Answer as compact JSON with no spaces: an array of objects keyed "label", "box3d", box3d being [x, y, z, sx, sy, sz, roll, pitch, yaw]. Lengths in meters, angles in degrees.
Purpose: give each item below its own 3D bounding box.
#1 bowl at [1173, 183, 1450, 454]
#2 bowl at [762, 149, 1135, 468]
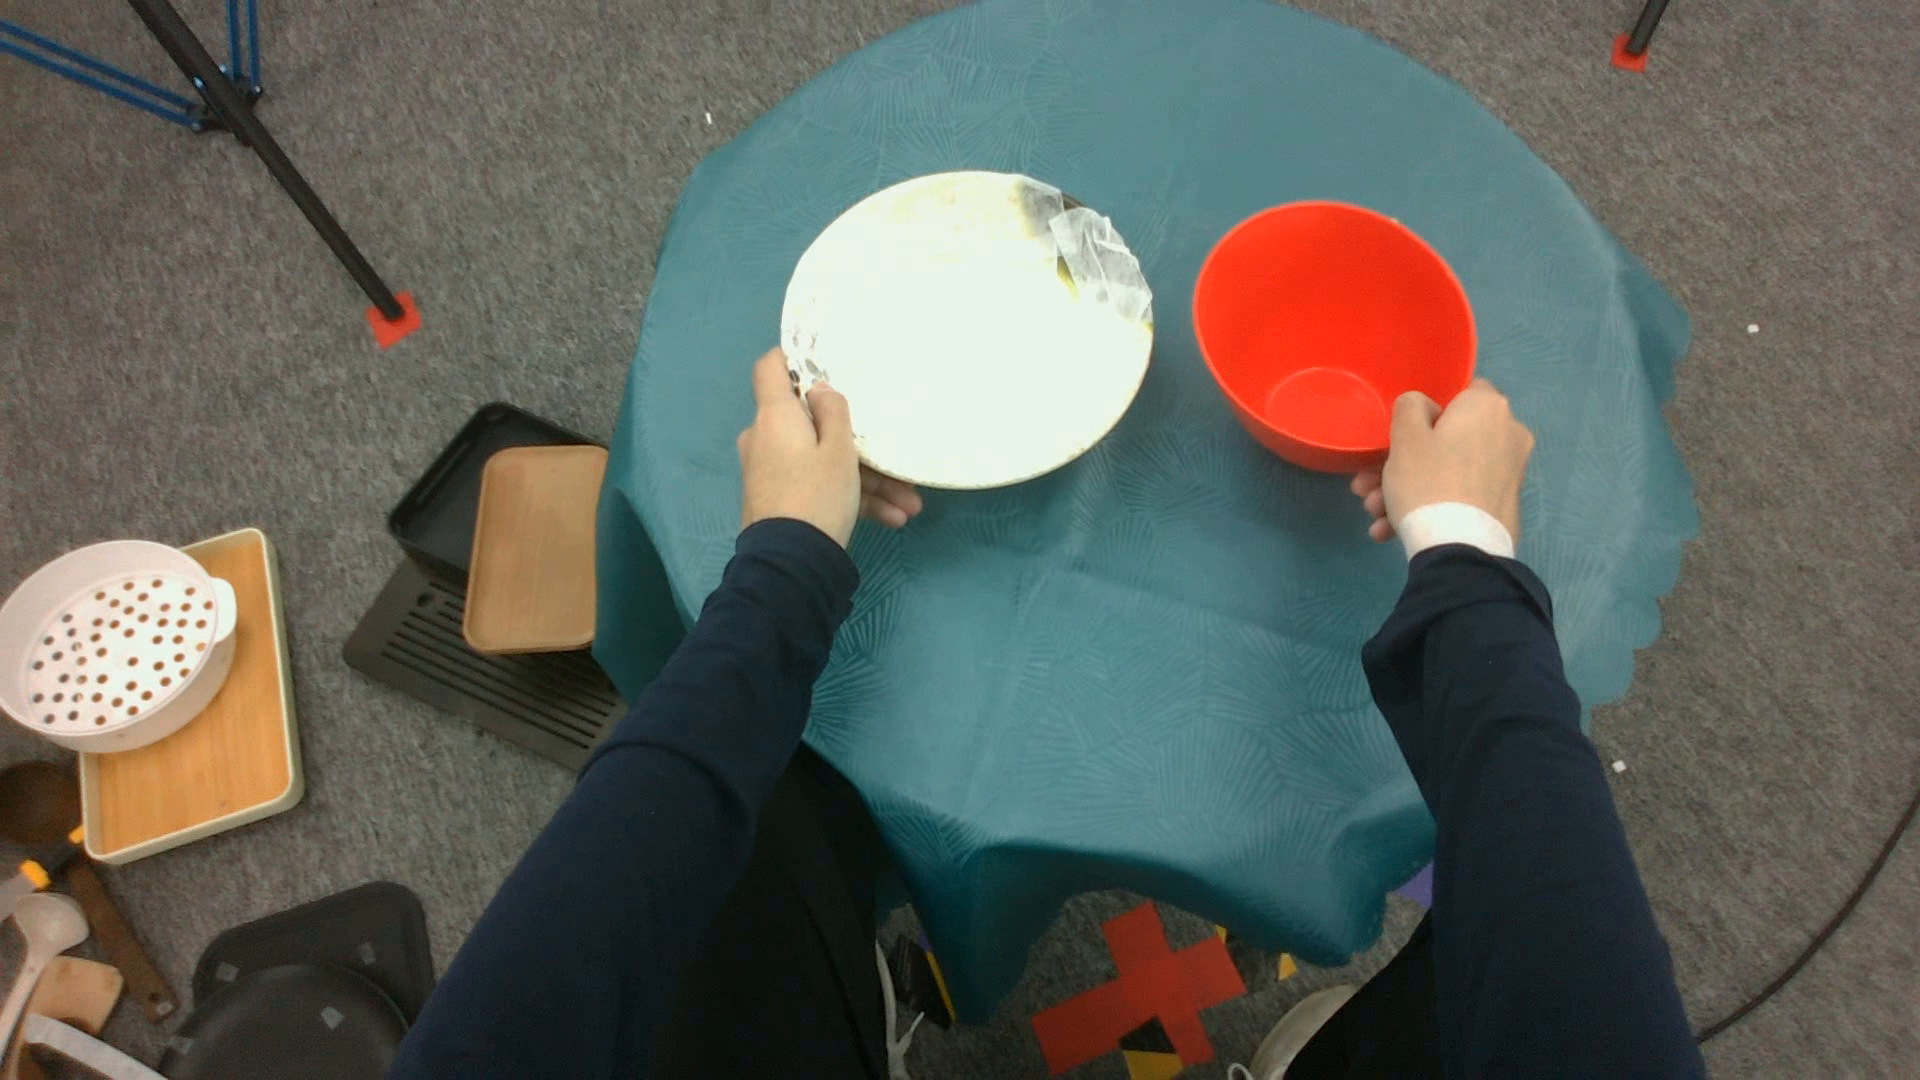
[{"label":"bowl","box3d":[0.187,-0.108,0.759,0.148,0.104,0.148,-1,66,2]},{"label":"bowl","box3d":[-0.005,-0.117,0.781,0.204,0.077,0.204,-1,66,3]}]
